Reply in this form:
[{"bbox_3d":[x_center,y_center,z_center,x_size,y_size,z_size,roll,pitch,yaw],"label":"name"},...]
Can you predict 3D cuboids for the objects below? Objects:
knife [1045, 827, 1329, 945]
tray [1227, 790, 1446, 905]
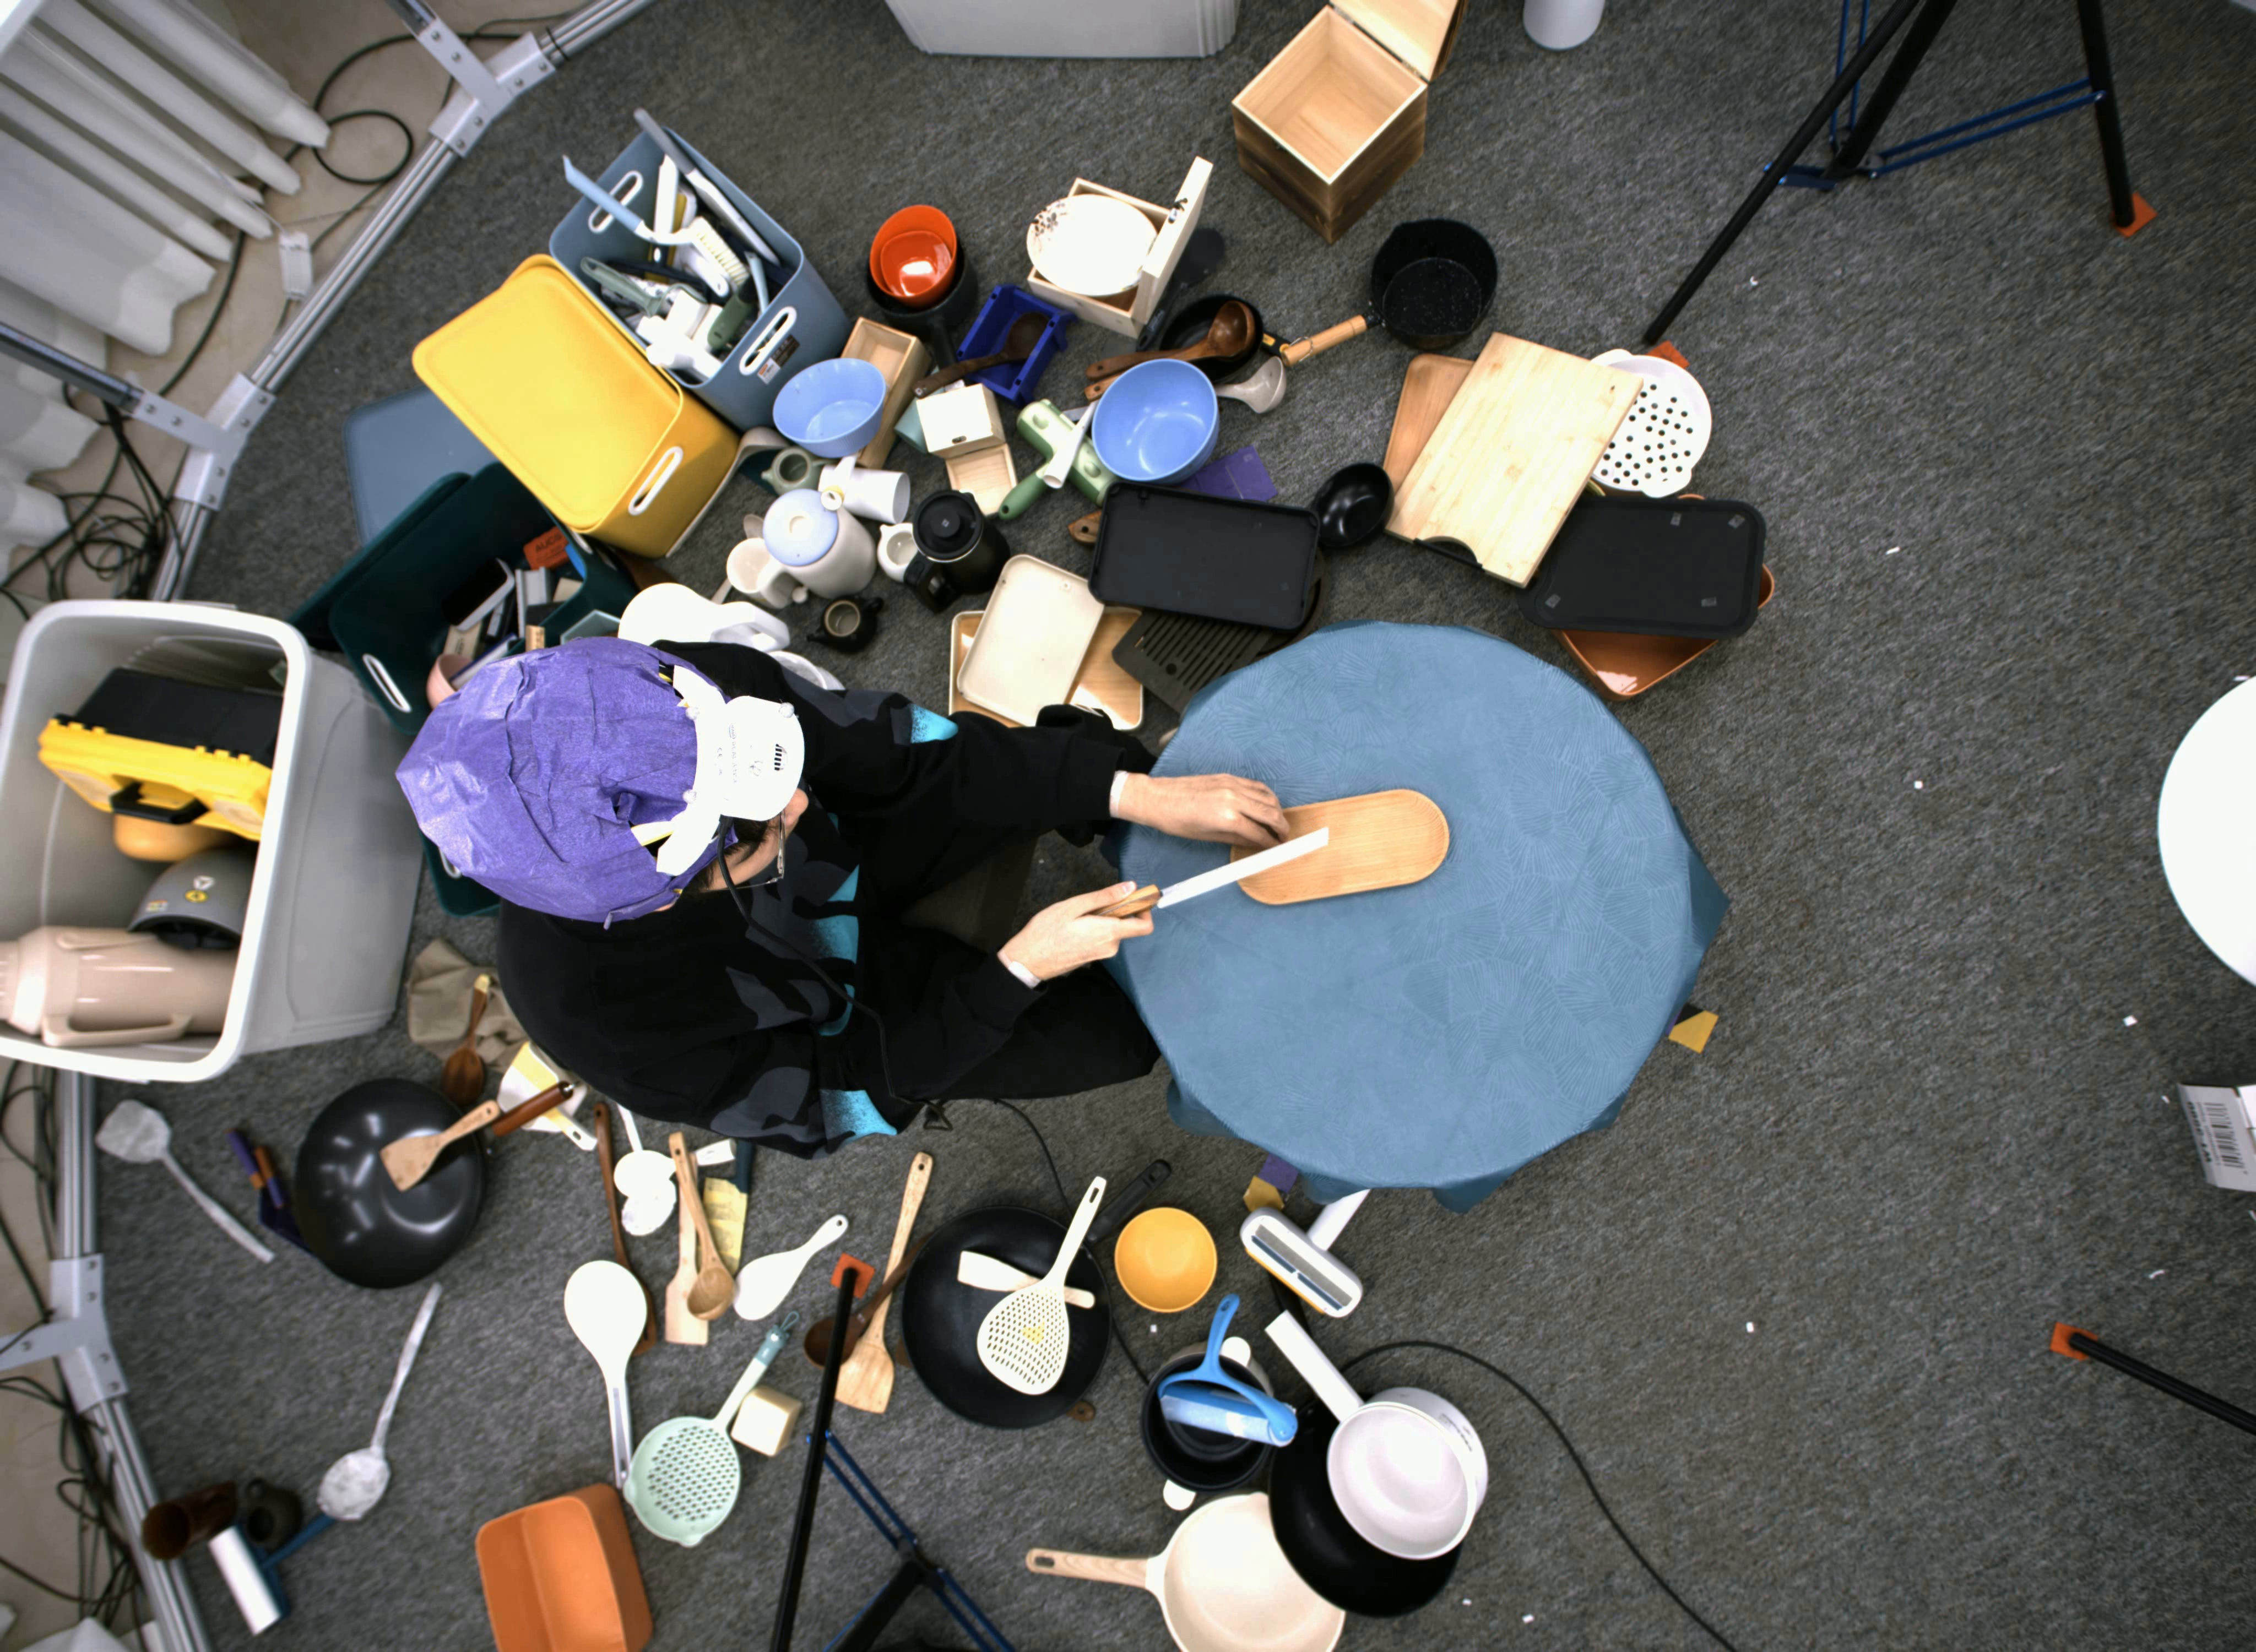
[{"bbox_3d":[0.064,0.063,1.429,0.307,0.093,0.021,-21,76,4],"label":"knife"},{"bbox_3d":[0.219,0.022,1.463,0.232,0.020,0.101,-10,83,11],"label":"tray"}]
